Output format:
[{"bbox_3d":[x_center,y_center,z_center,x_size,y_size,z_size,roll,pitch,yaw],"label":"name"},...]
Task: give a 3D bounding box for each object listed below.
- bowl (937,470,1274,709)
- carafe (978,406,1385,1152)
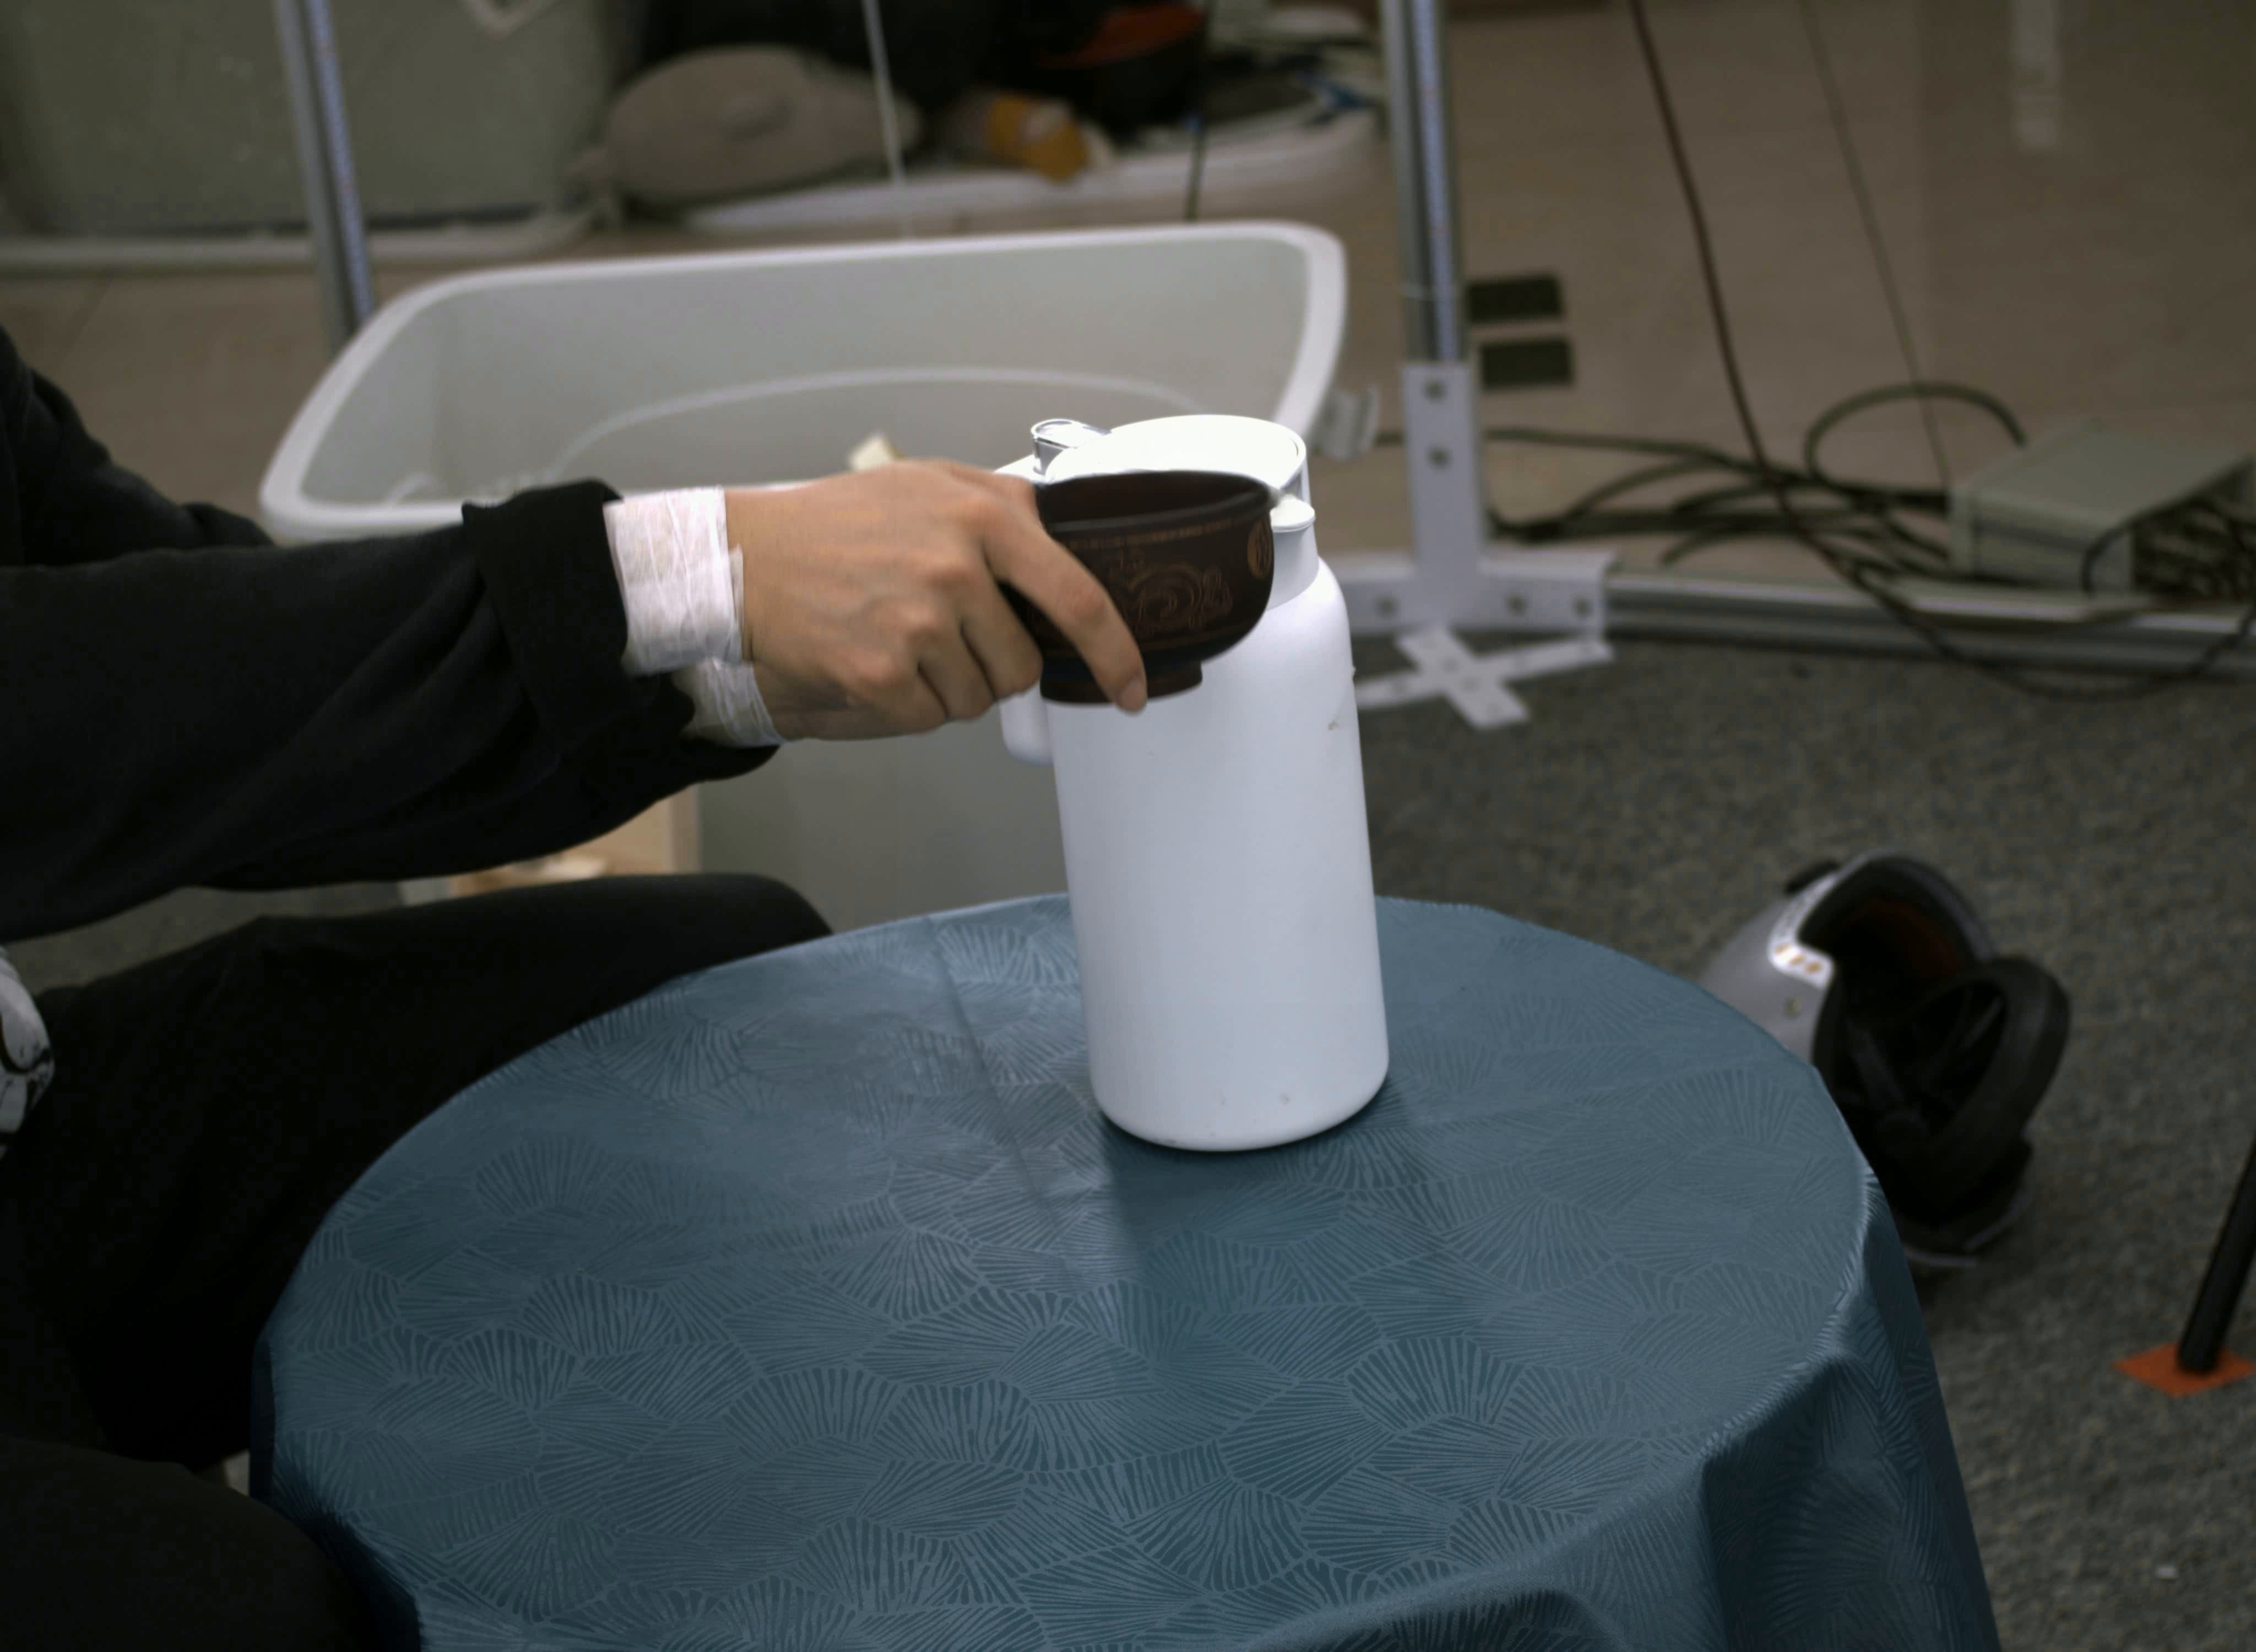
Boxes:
[{"bbox_3d":[-0.006,-0.081,1.974,0.118,0.070,0.117,-5,13,1],"label":"bowl"},{"bbox_3d":[0.018,-0.020,2.166,0.171,0.273,0.123,19,38,42],"label":"carafe"}]
